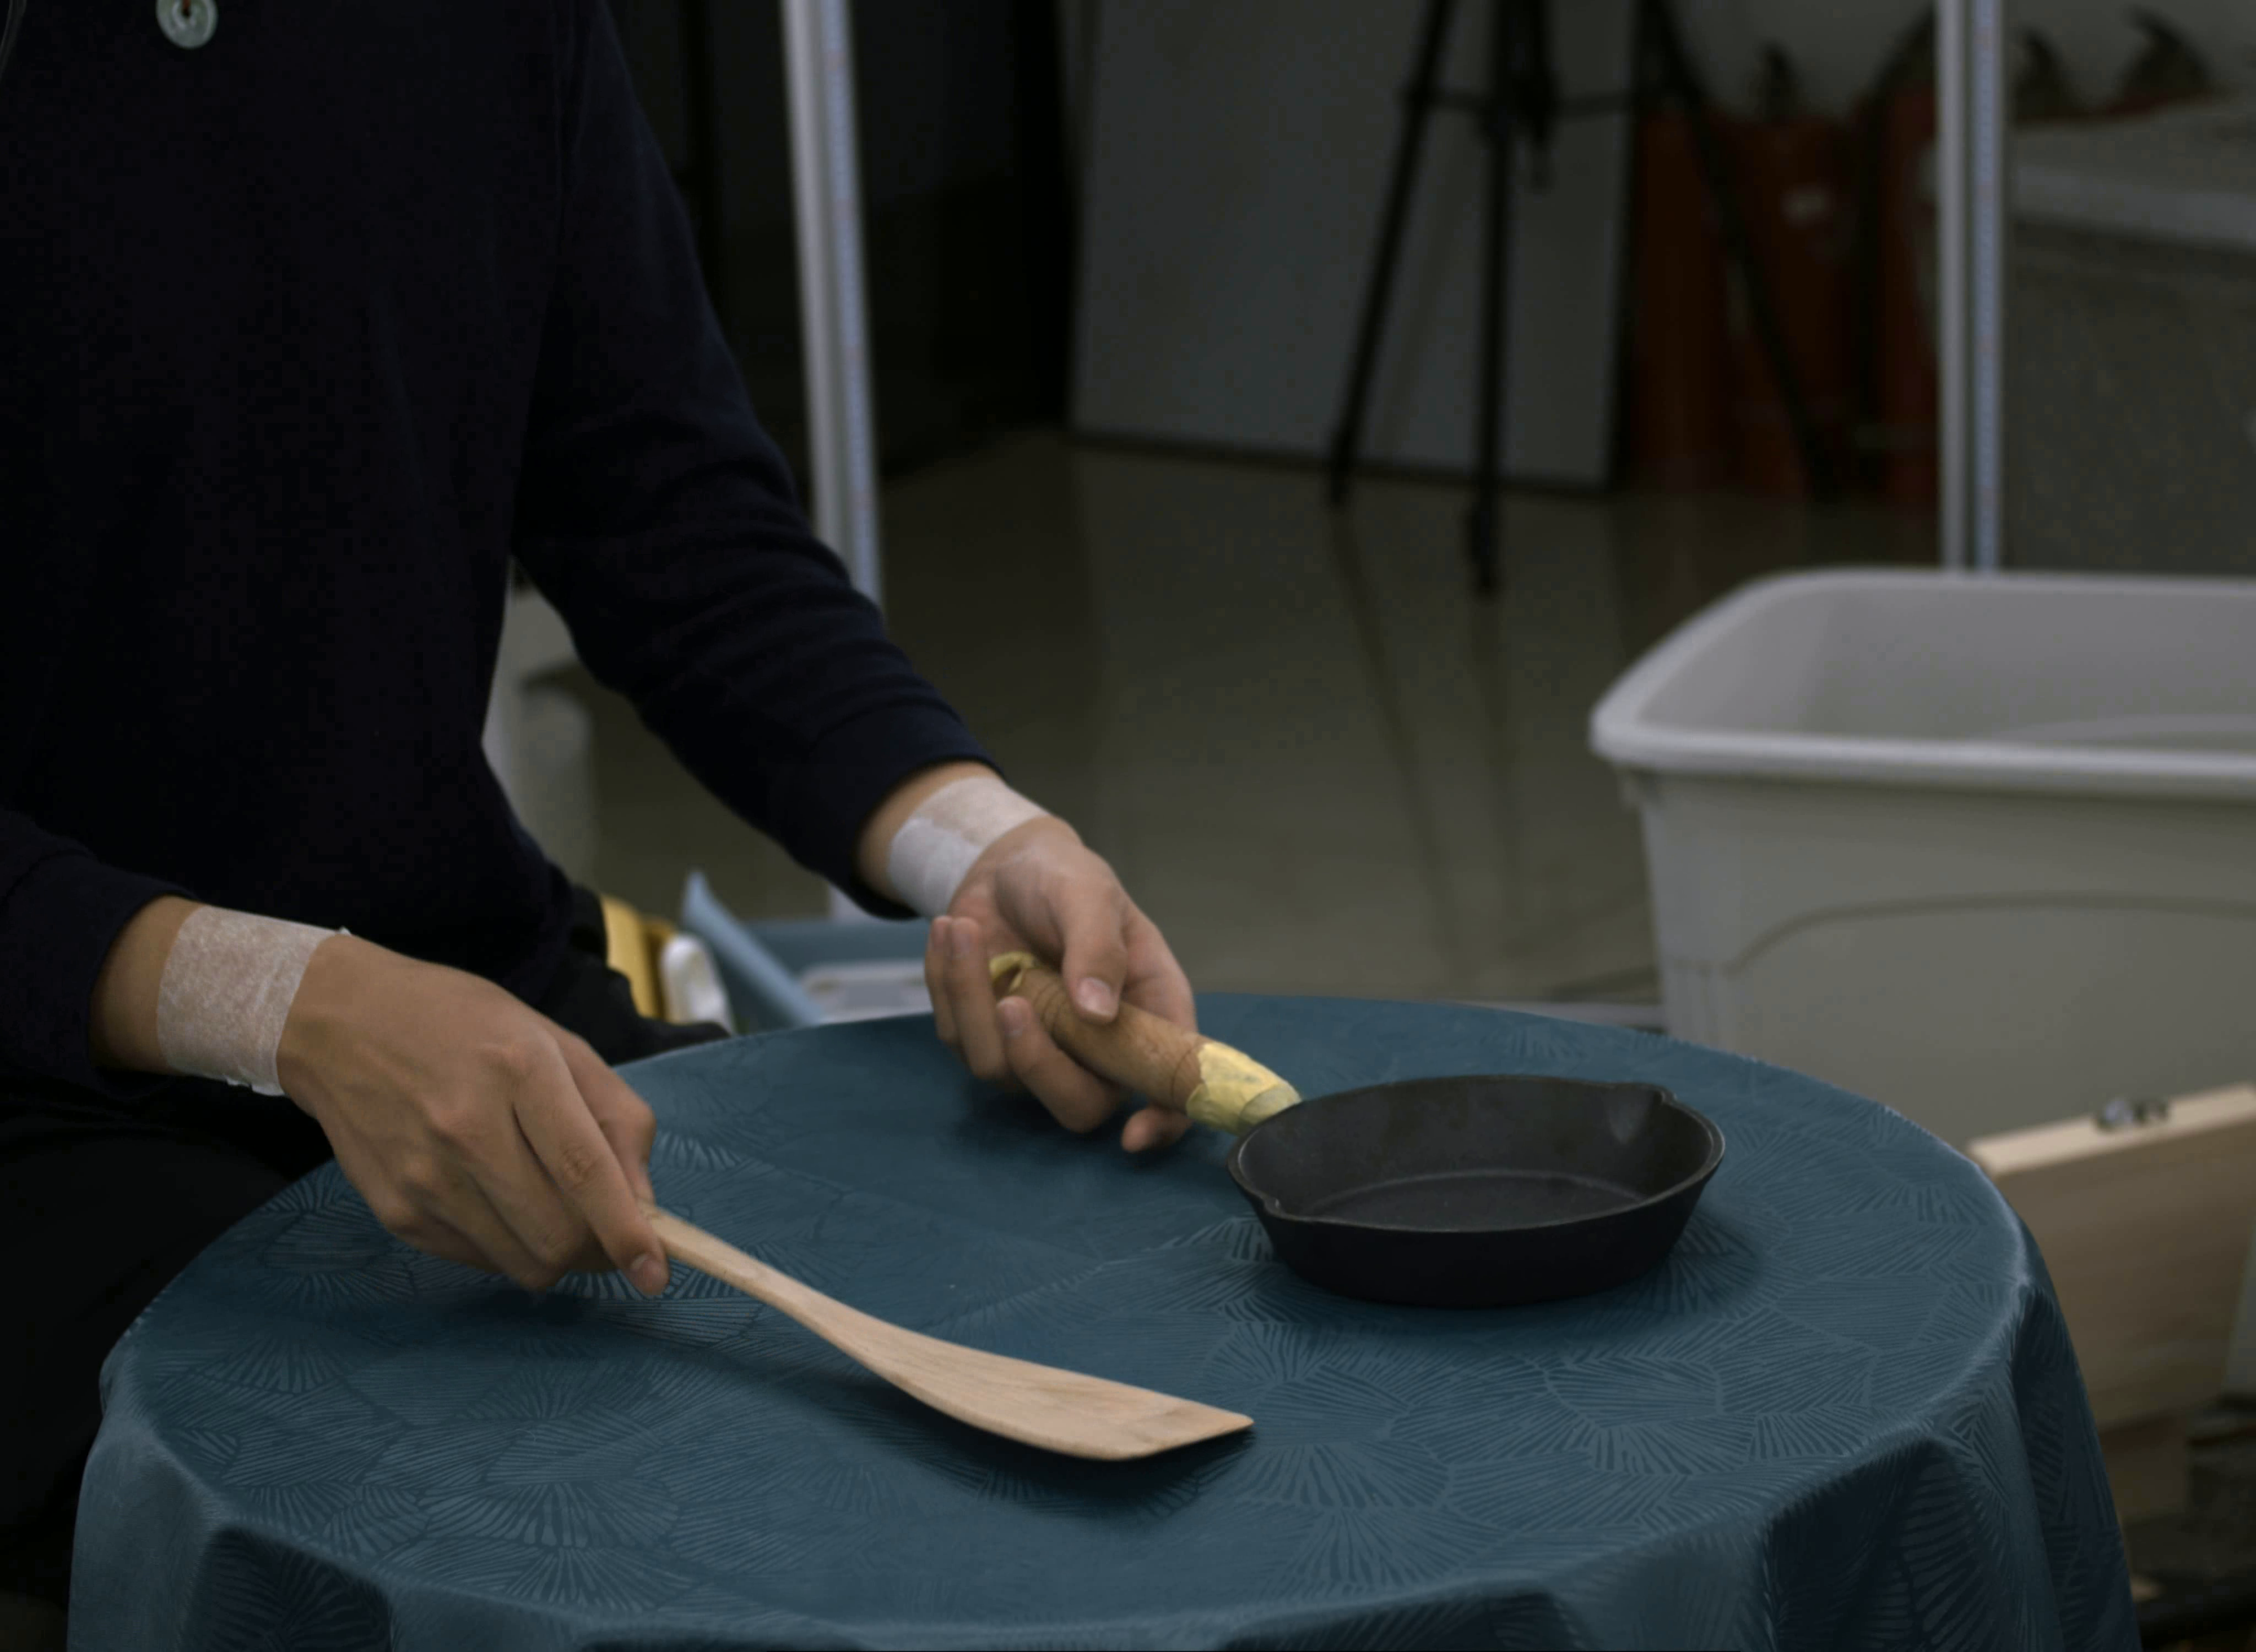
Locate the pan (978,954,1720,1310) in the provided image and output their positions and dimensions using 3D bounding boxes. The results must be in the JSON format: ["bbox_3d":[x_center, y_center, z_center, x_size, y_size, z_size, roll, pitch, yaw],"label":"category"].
[{"bbox_3d":[0.057,0.095,1.754,0.165,0.050,0.327,-14,18,-36],"label":"pan"}]

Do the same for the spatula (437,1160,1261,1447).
[{"bbox_3d":[-0.094,0.141,1.614,0.330,0.017,0.078,17,8,41],"label":"spatula"}]
